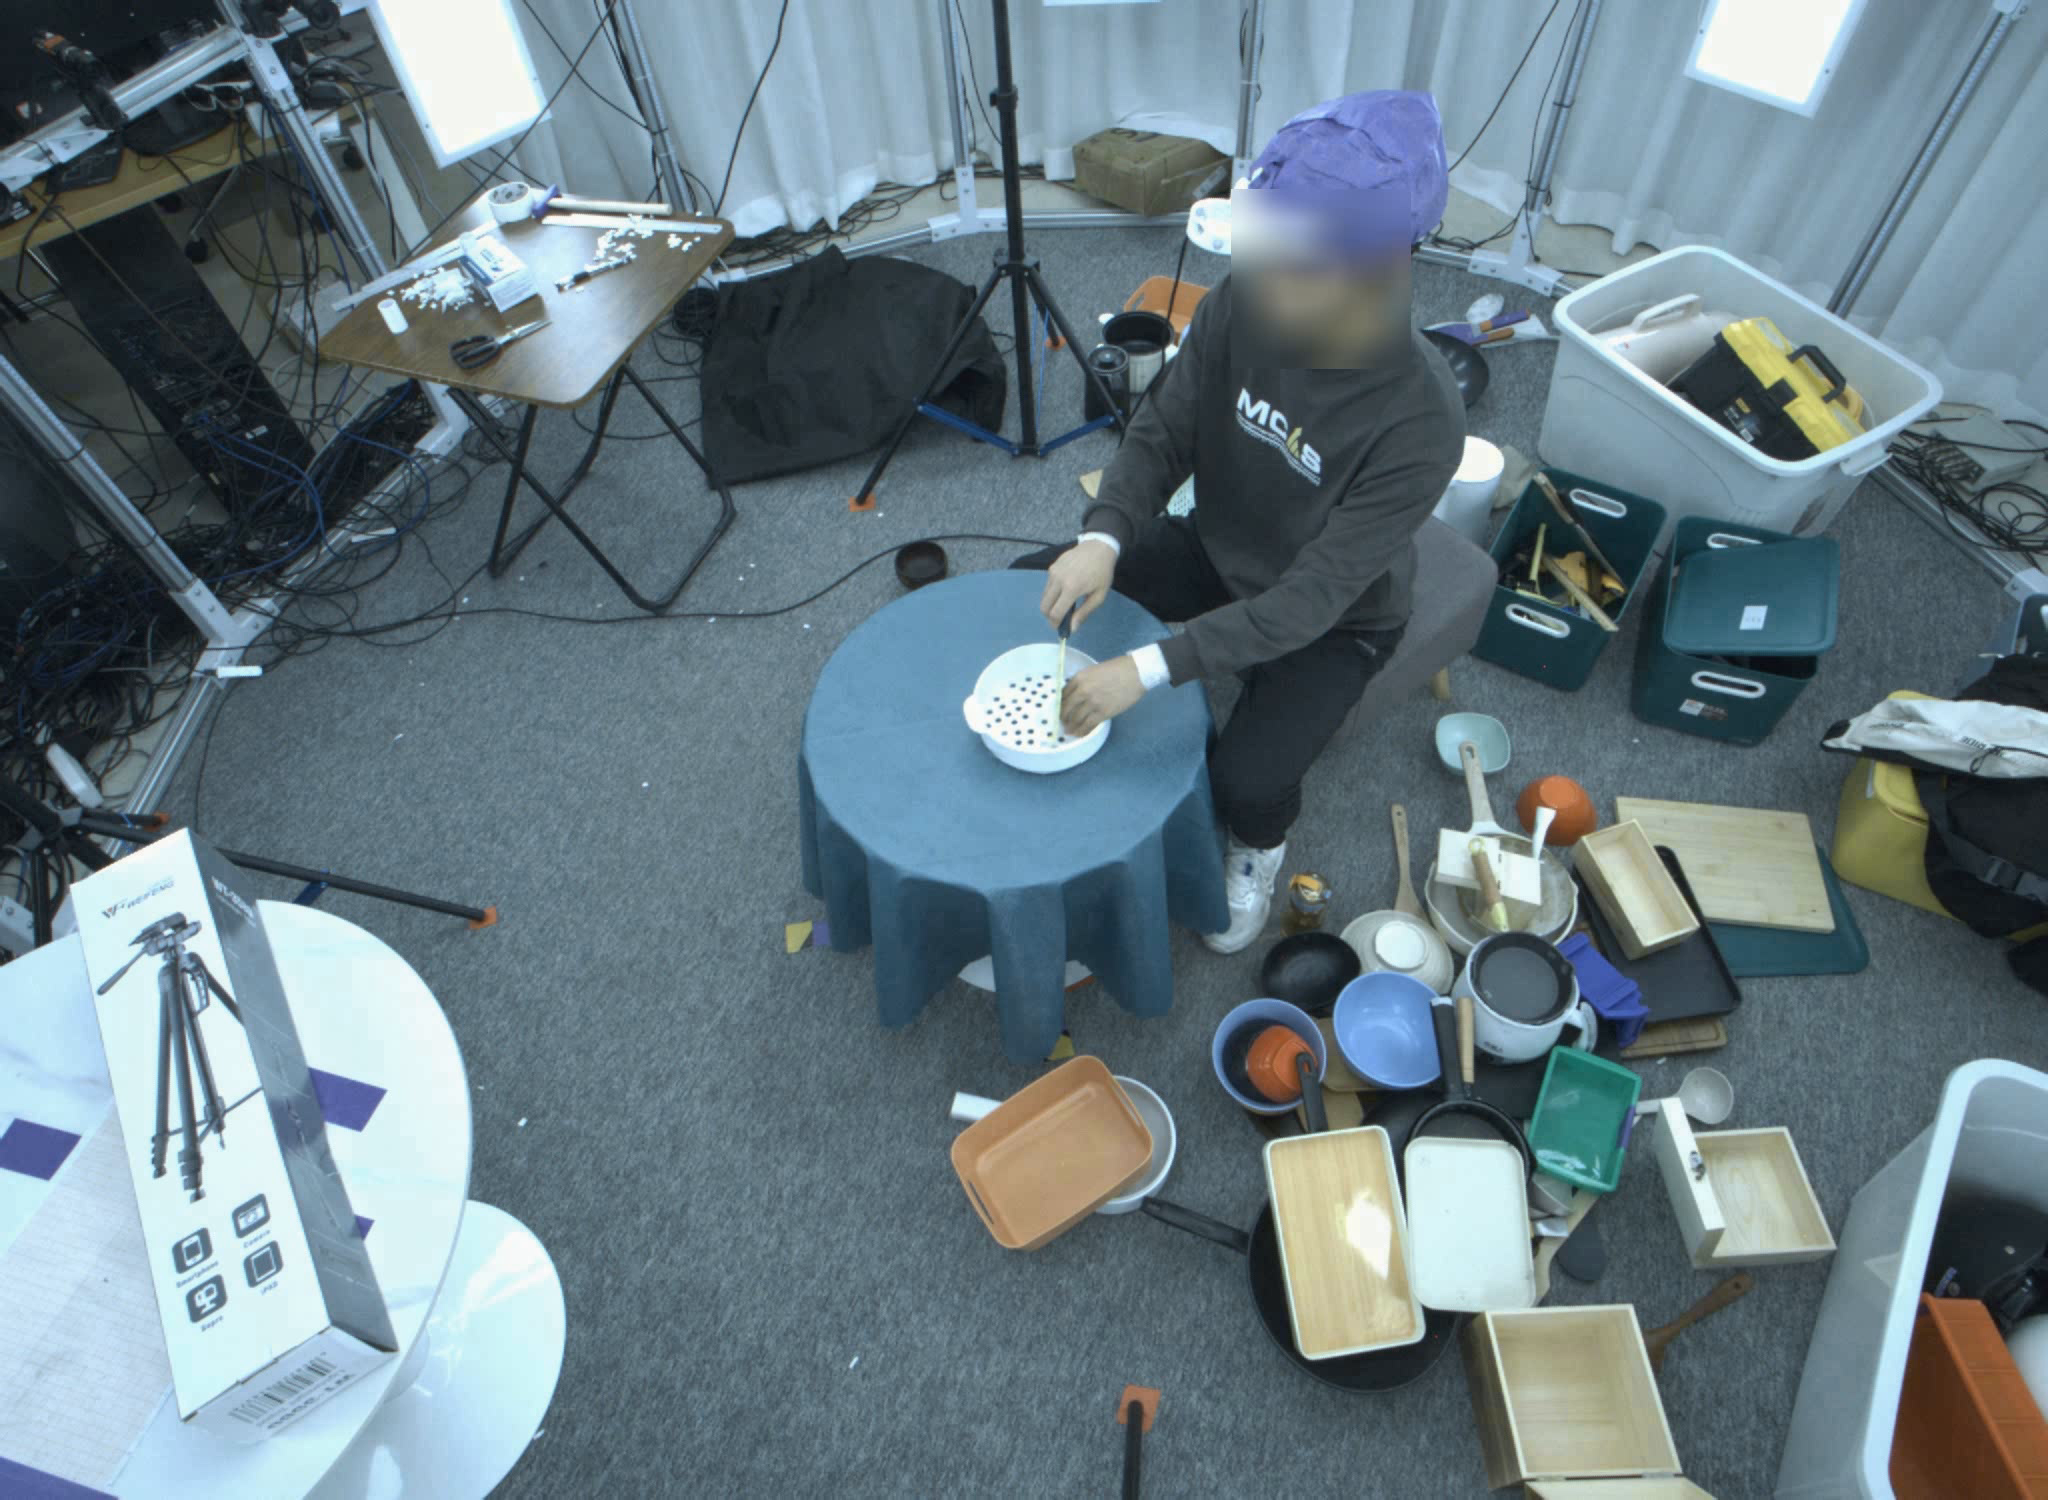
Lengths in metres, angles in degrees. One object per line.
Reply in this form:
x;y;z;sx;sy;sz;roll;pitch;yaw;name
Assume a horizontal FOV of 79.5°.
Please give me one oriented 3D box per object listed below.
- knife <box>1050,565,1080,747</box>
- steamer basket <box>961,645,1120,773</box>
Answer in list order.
0.055;-0.137;1.787;0.027;0.081;0.288;9;69;-6;knife
0.024;-0.058;1.795;0.232;0.070;0.198;-13;56;-10;steamer basket
